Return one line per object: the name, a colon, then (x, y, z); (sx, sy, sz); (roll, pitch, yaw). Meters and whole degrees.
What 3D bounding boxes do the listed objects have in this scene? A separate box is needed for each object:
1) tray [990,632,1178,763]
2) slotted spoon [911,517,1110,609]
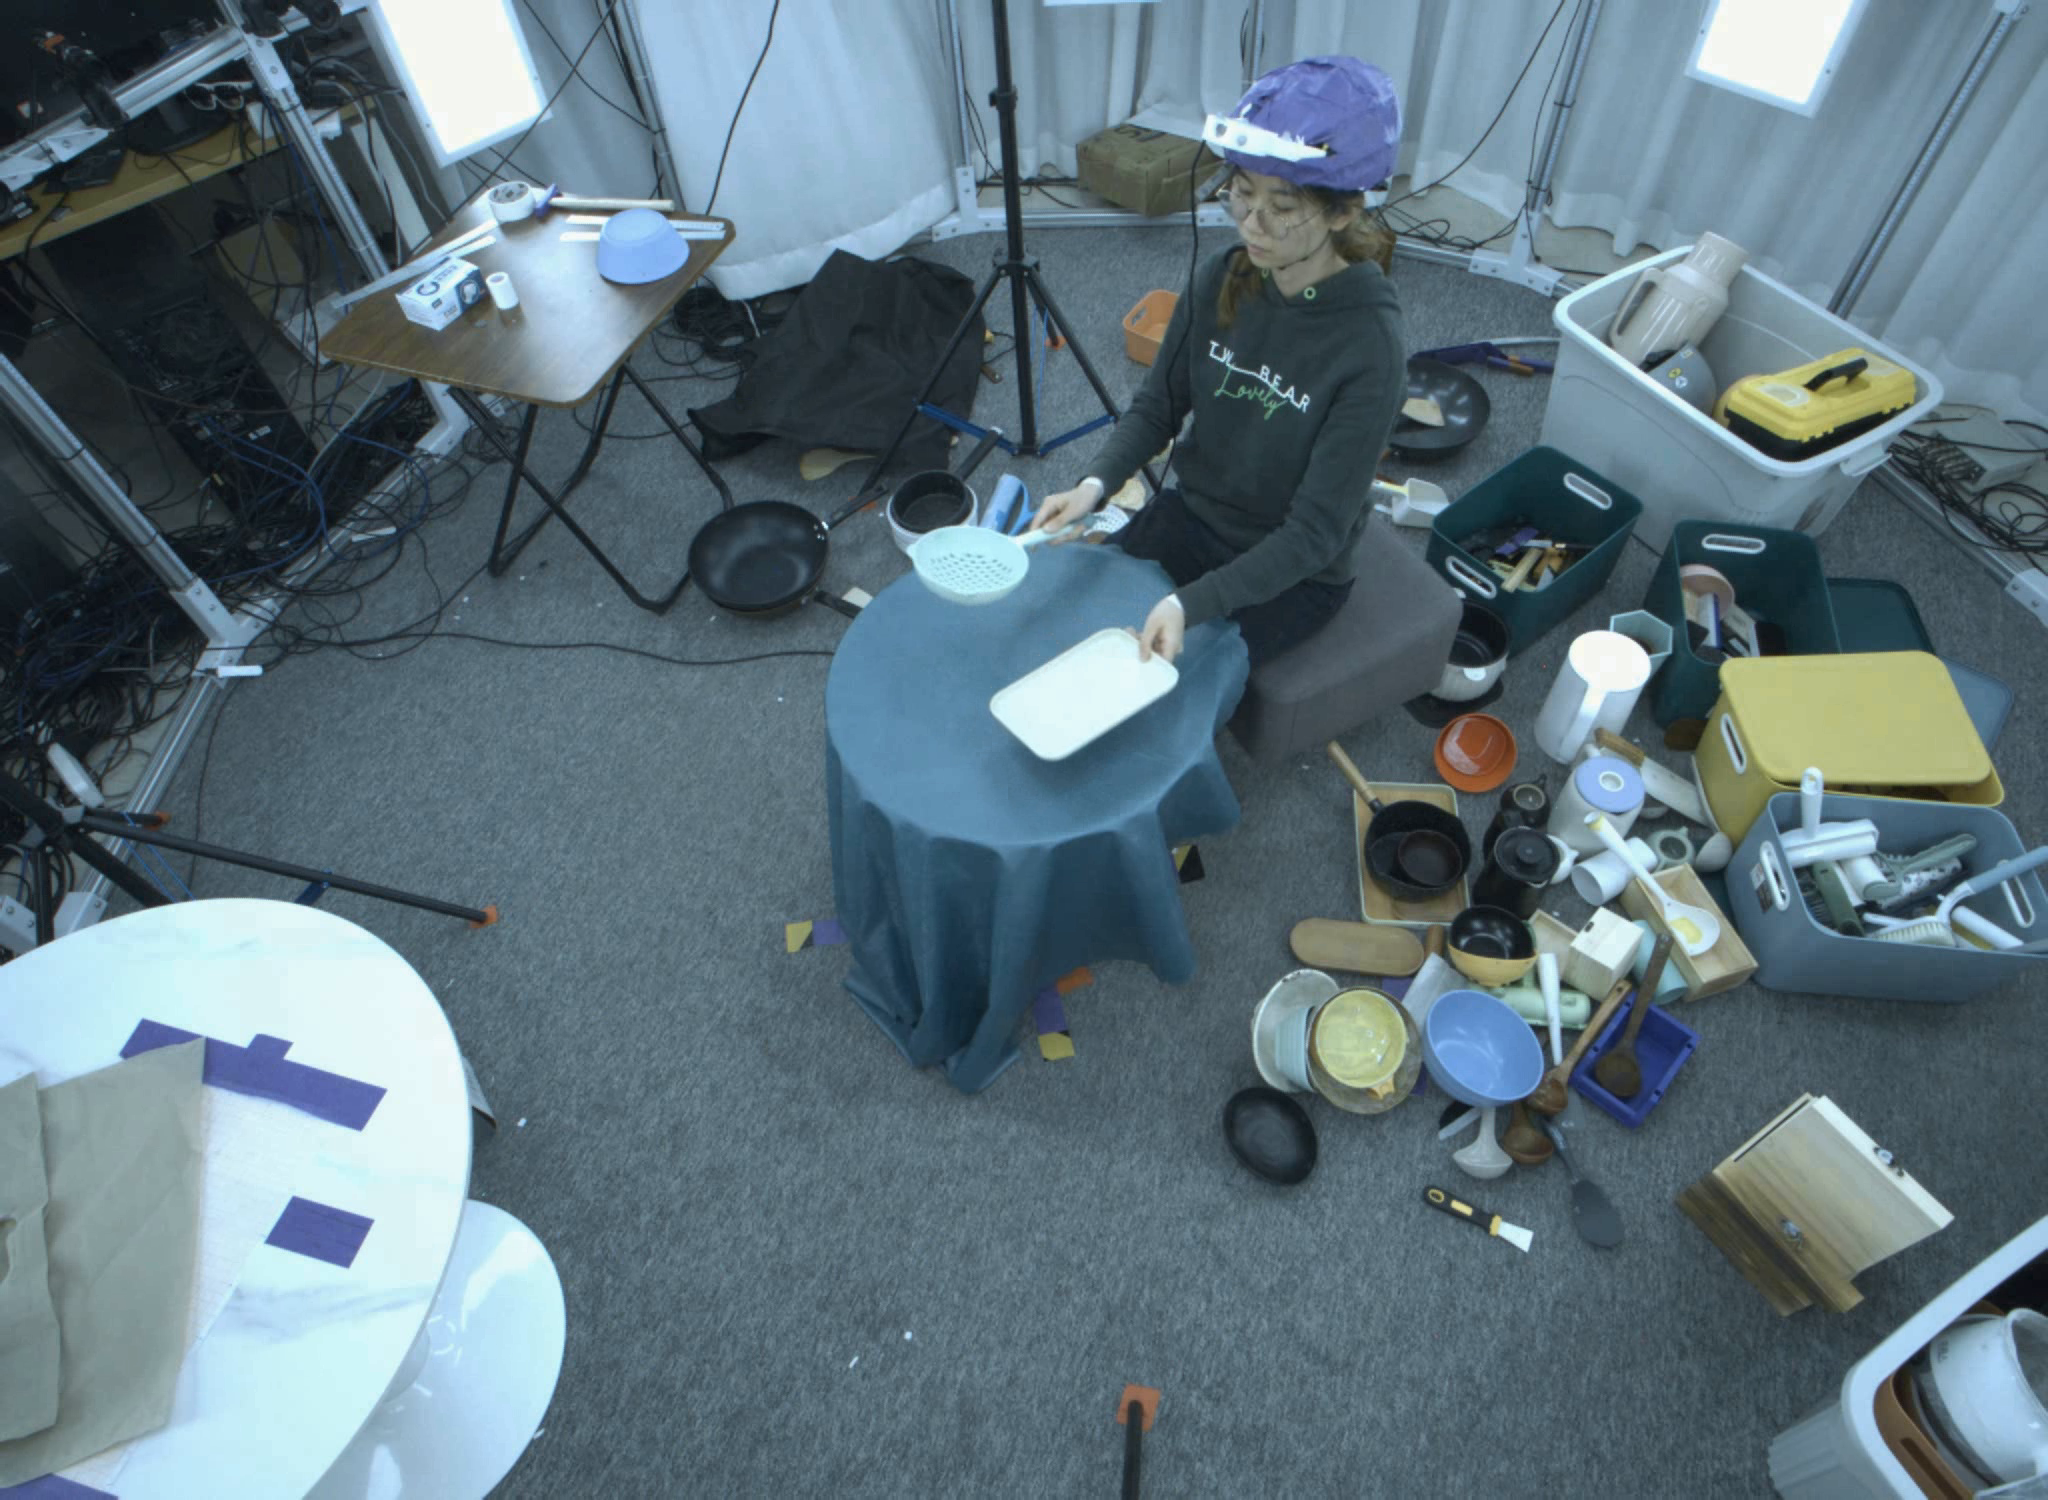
tray: (0.085, -0.075, 1.740); (0.241, 0.018, 0.167); (-32, 48, -18)
slotted spoon: (-0.002, -0.300, 1.844); (0.363, 0.076, 0.166); (-32, 58, -29)
